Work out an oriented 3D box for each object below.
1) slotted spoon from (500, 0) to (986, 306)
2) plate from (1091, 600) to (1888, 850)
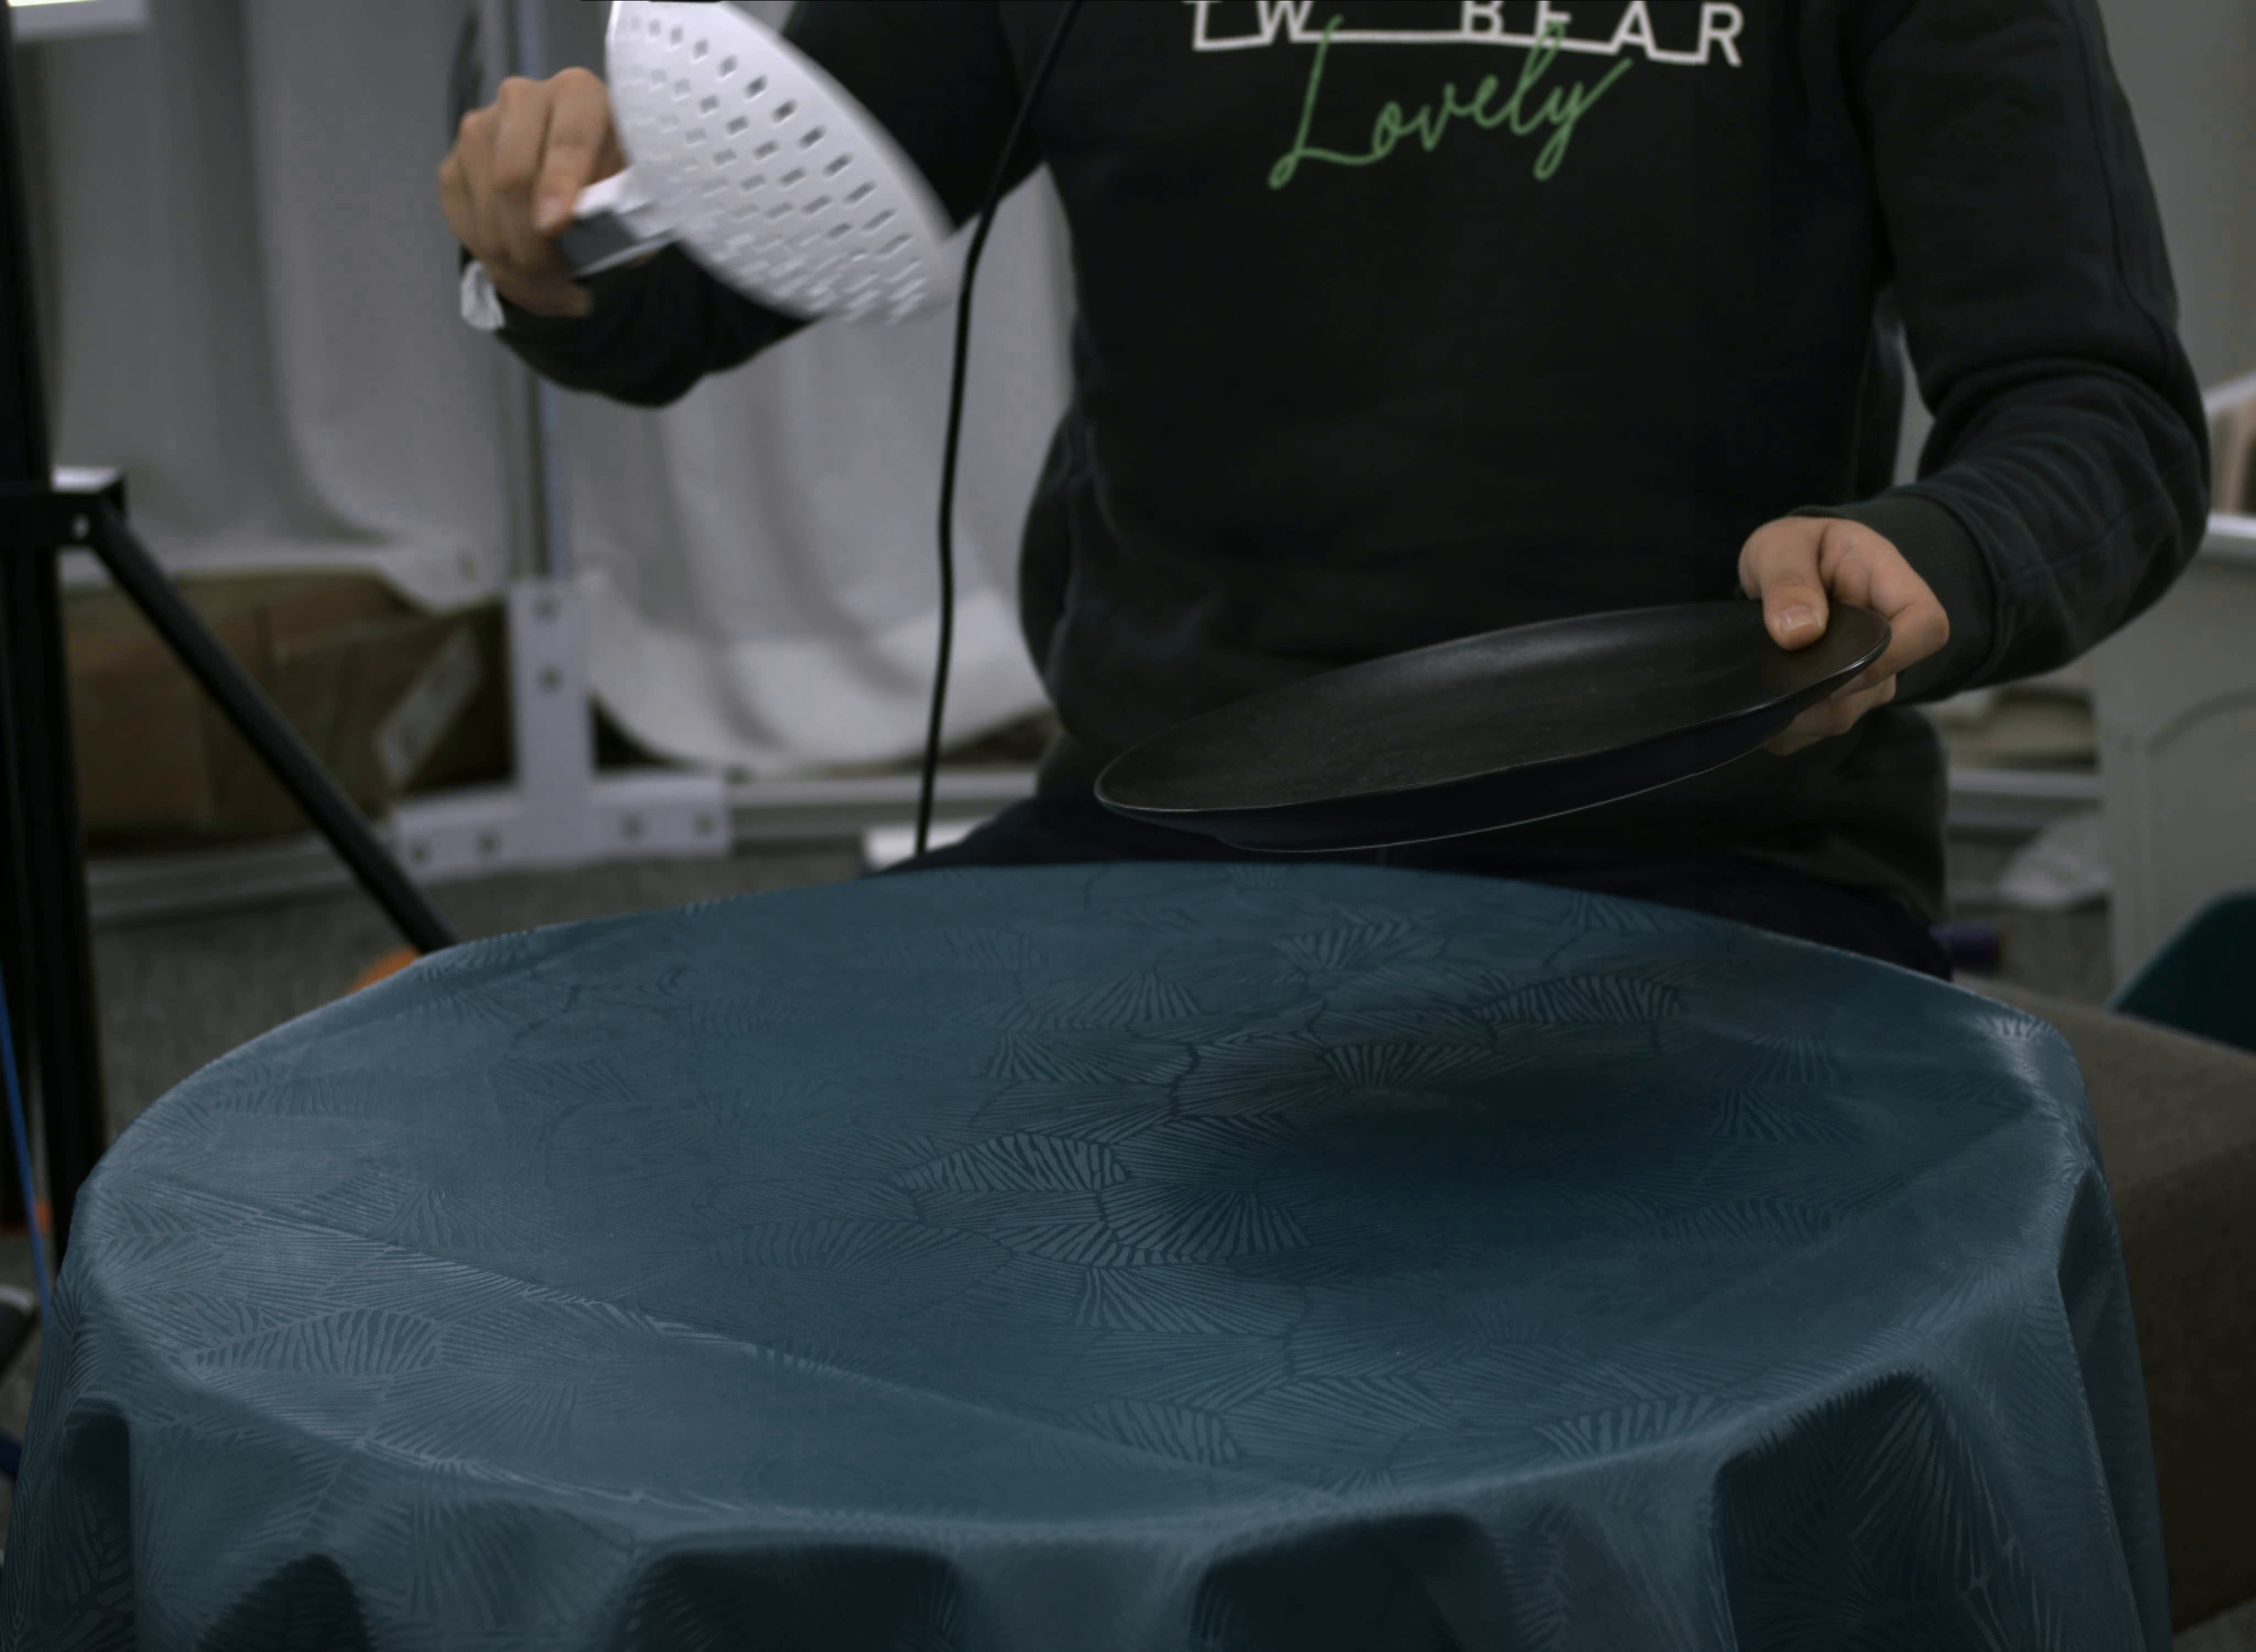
[{"bbox_3d":[-0.142,-0.201,1.708,0.045,0.134,0.354,-49,15,-12],"label":"slotted spoon"},{"bbox_3d":[0.109,-0.027,1.595,0.243,0.023,0.245,-13,10,1],"label":"plate"}]
